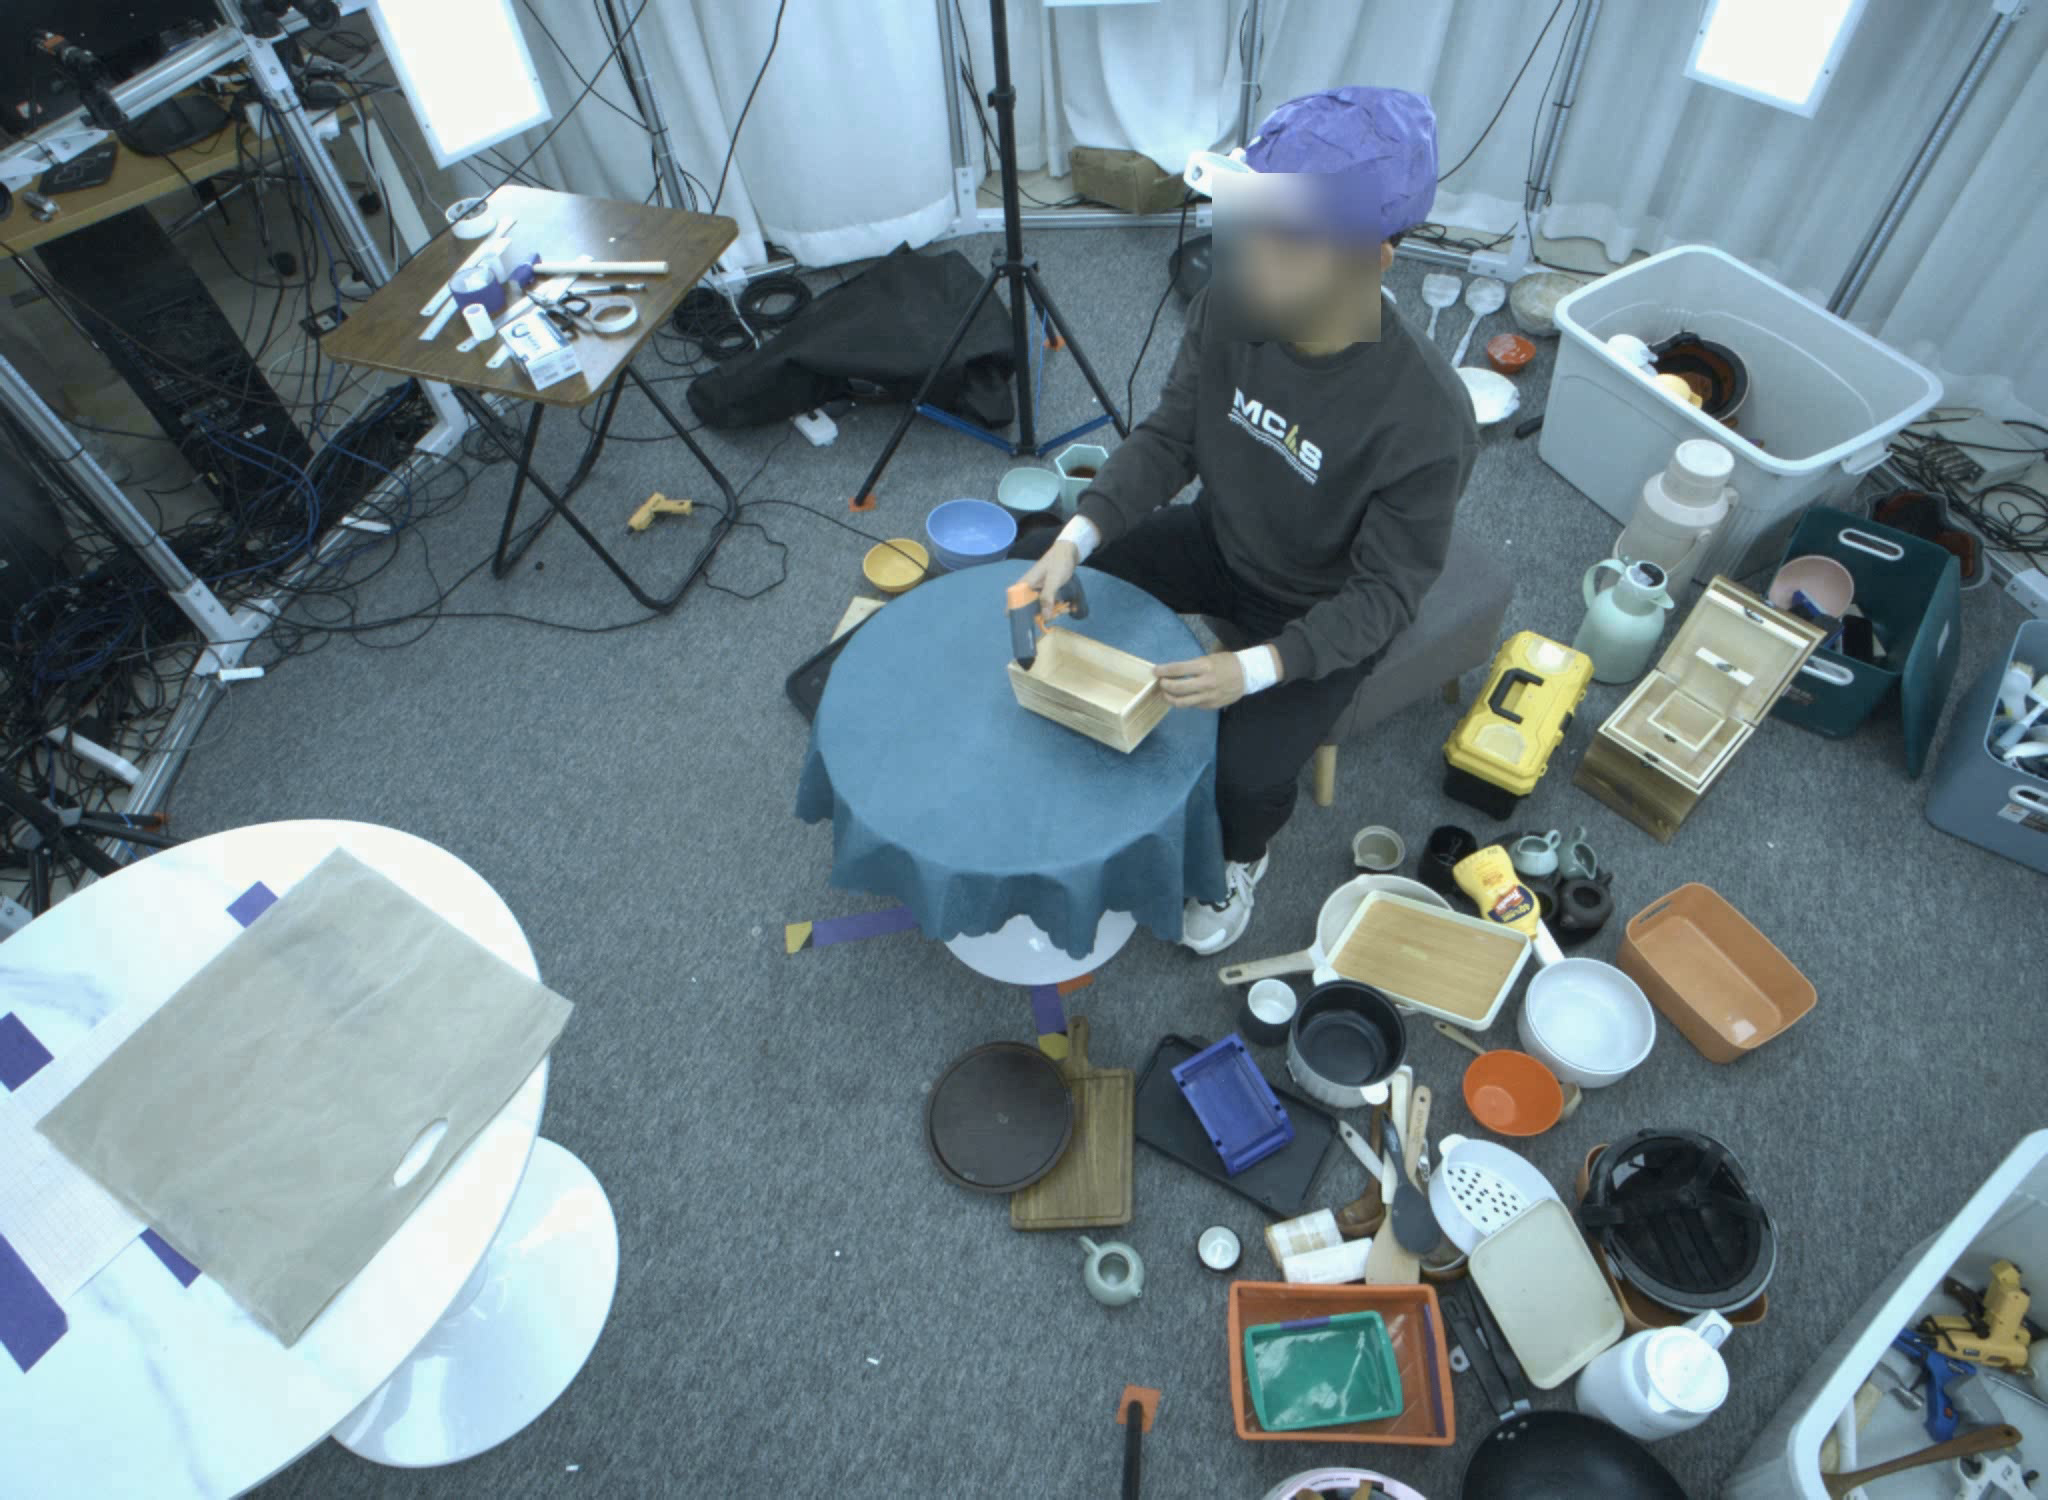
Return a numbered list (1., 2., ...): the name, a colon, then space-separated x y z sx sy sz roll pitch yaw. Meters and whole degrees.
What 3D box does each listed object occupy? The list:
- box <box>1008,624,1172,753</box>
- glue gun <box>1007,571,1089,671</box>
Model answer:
1. box: 0.094 -0.092 1.773 0.207 0.081 0.108 26 58 34
2. glue gun: 0.029 -0.193 1.778 0.141 0.119 0.040 -35 29 -33
